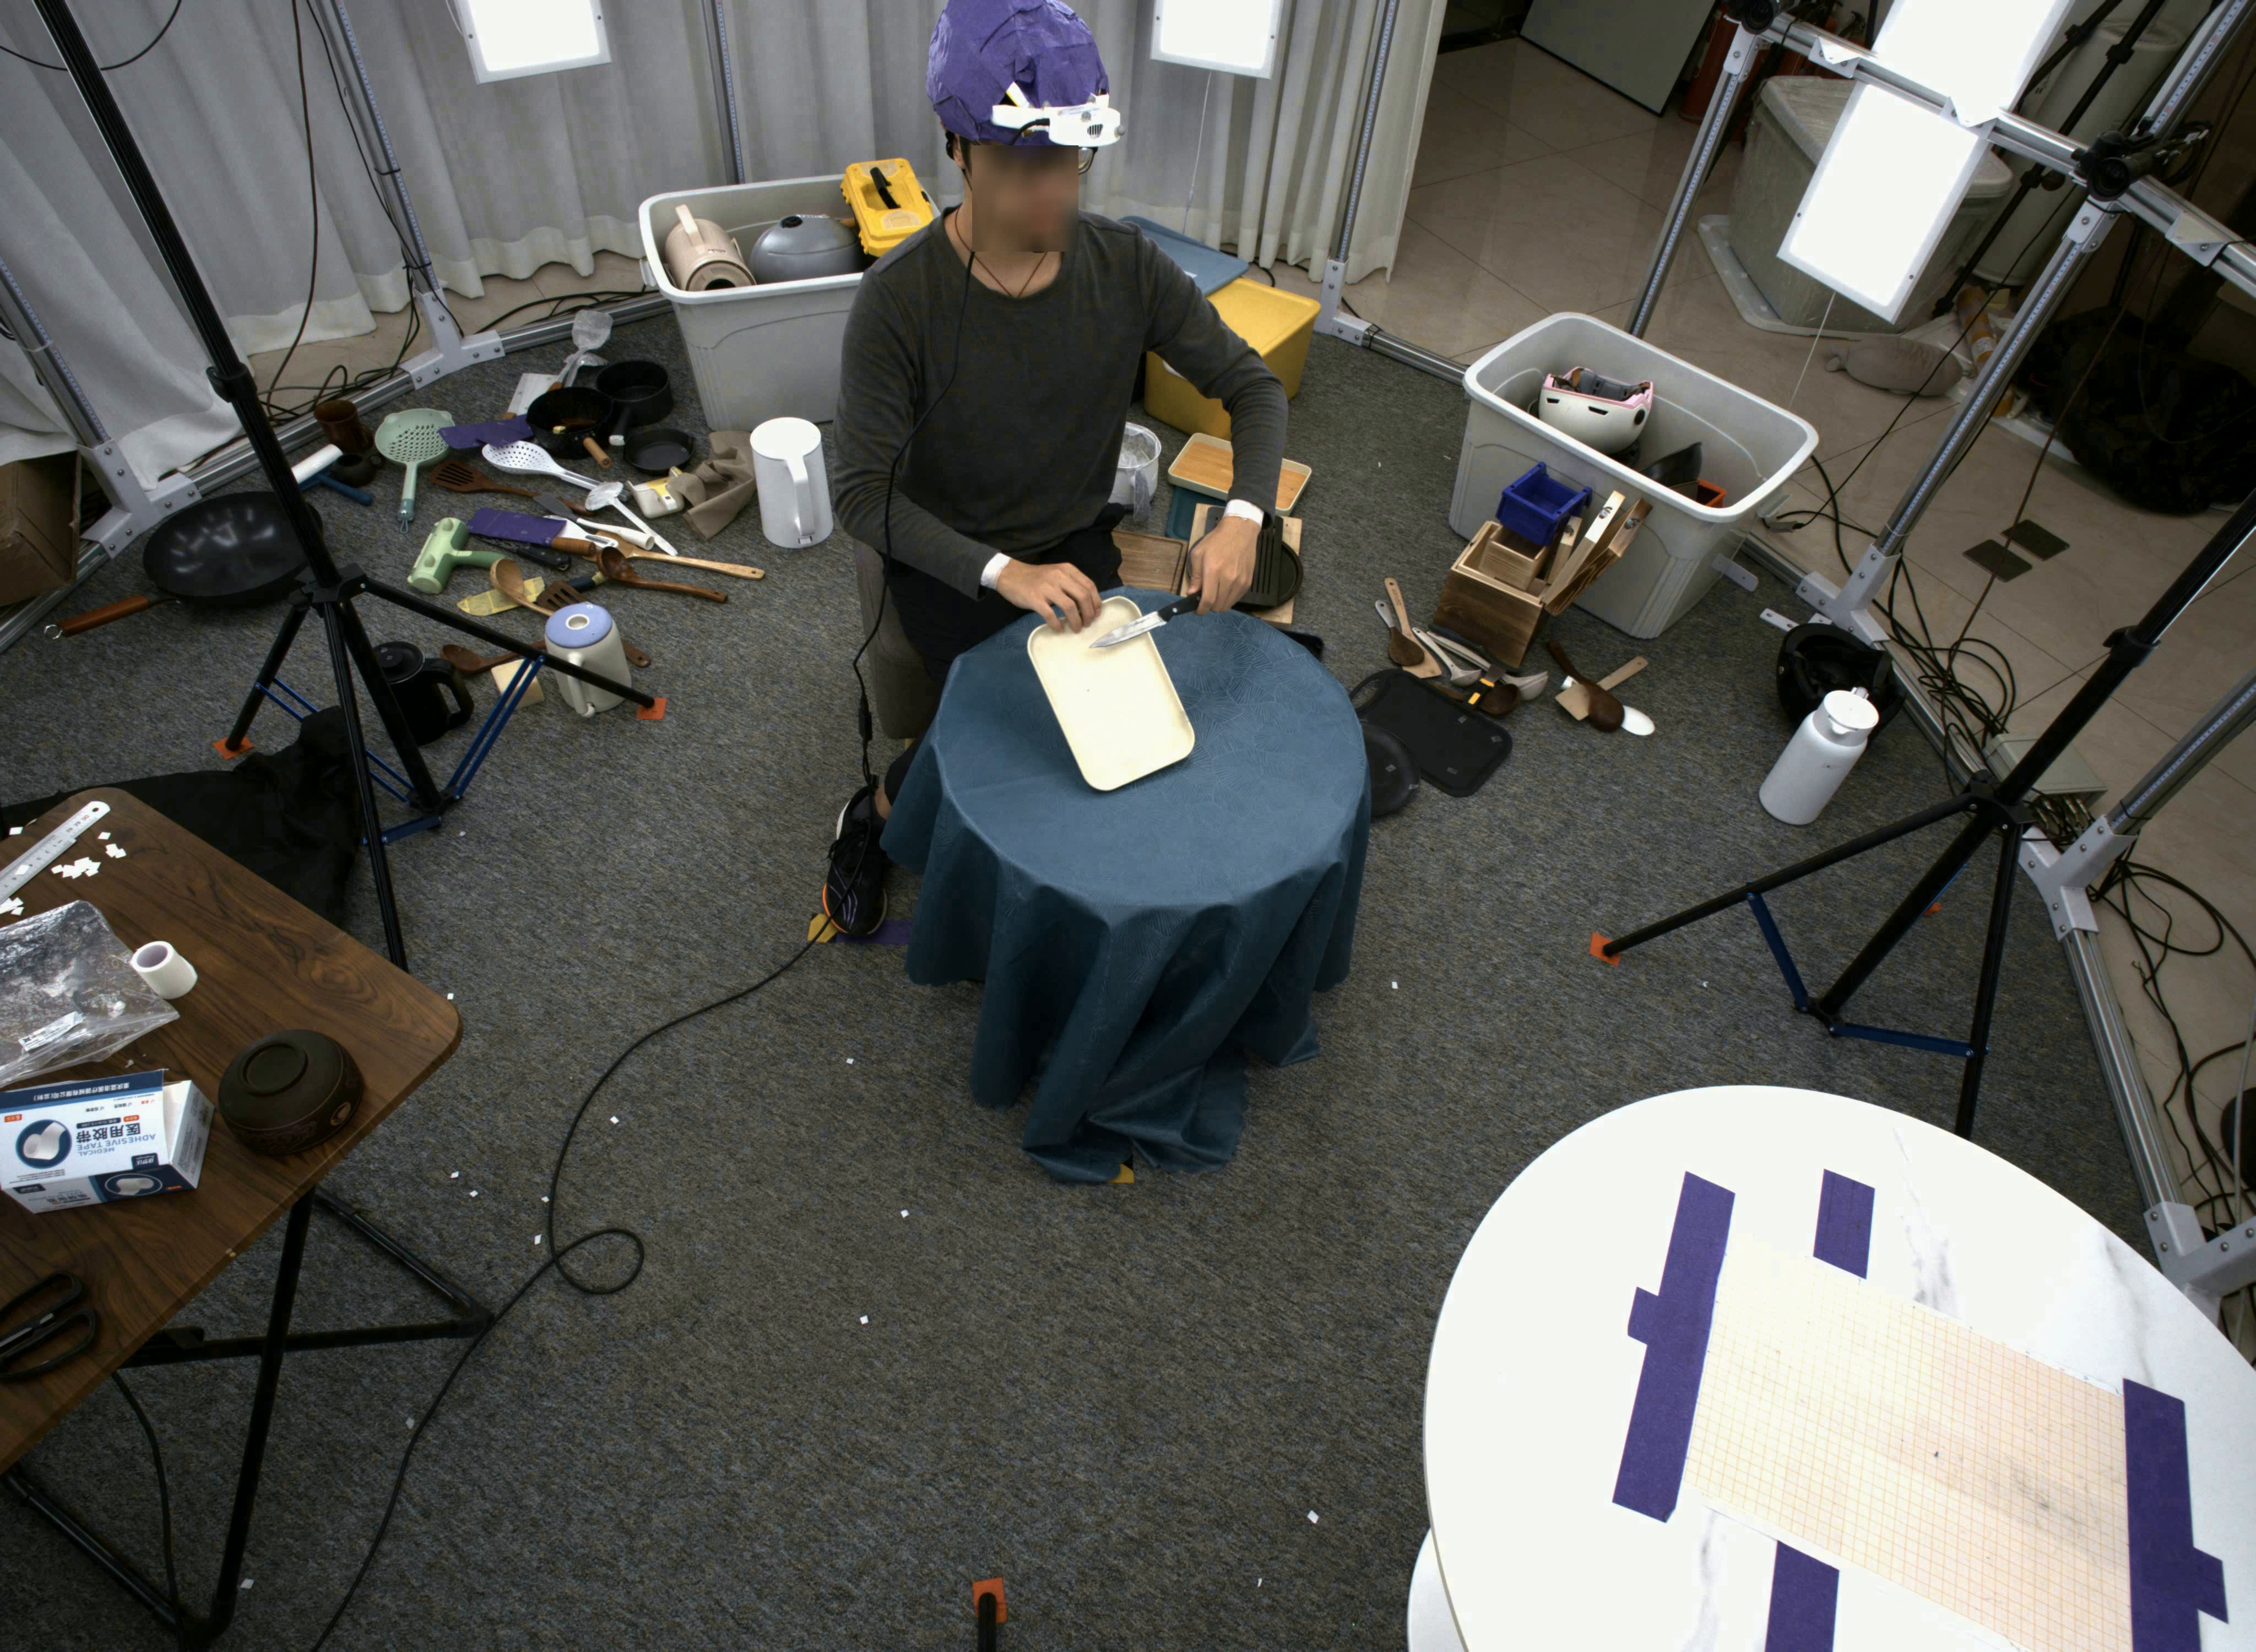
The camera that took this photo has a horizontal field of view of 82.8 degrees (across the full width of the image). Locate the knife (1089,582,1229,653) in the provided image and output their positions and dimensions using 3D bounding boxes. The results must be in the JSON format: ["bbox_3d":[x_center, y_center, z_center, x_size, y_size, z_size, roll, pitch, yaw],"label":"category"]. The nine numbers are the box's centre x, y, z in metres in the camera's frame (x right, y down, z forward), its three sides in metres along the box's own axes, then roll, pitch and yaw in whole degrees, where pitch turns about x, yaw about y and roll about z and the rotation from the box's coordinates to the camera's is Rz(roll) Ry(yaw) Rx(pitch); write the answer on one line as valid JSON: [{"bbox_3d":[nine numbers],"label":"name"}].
[{"bbox_3d":[0.043,-0.285,1.752,0.239,0.024,0.016,-29,16,-25],"label":"knife"}]

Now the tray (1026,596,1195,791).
[{"bbox_3d":[-0.024,-0.178,1.726,0.172,0.017,0.240,-24,89,-18],"label":"tray"}]
